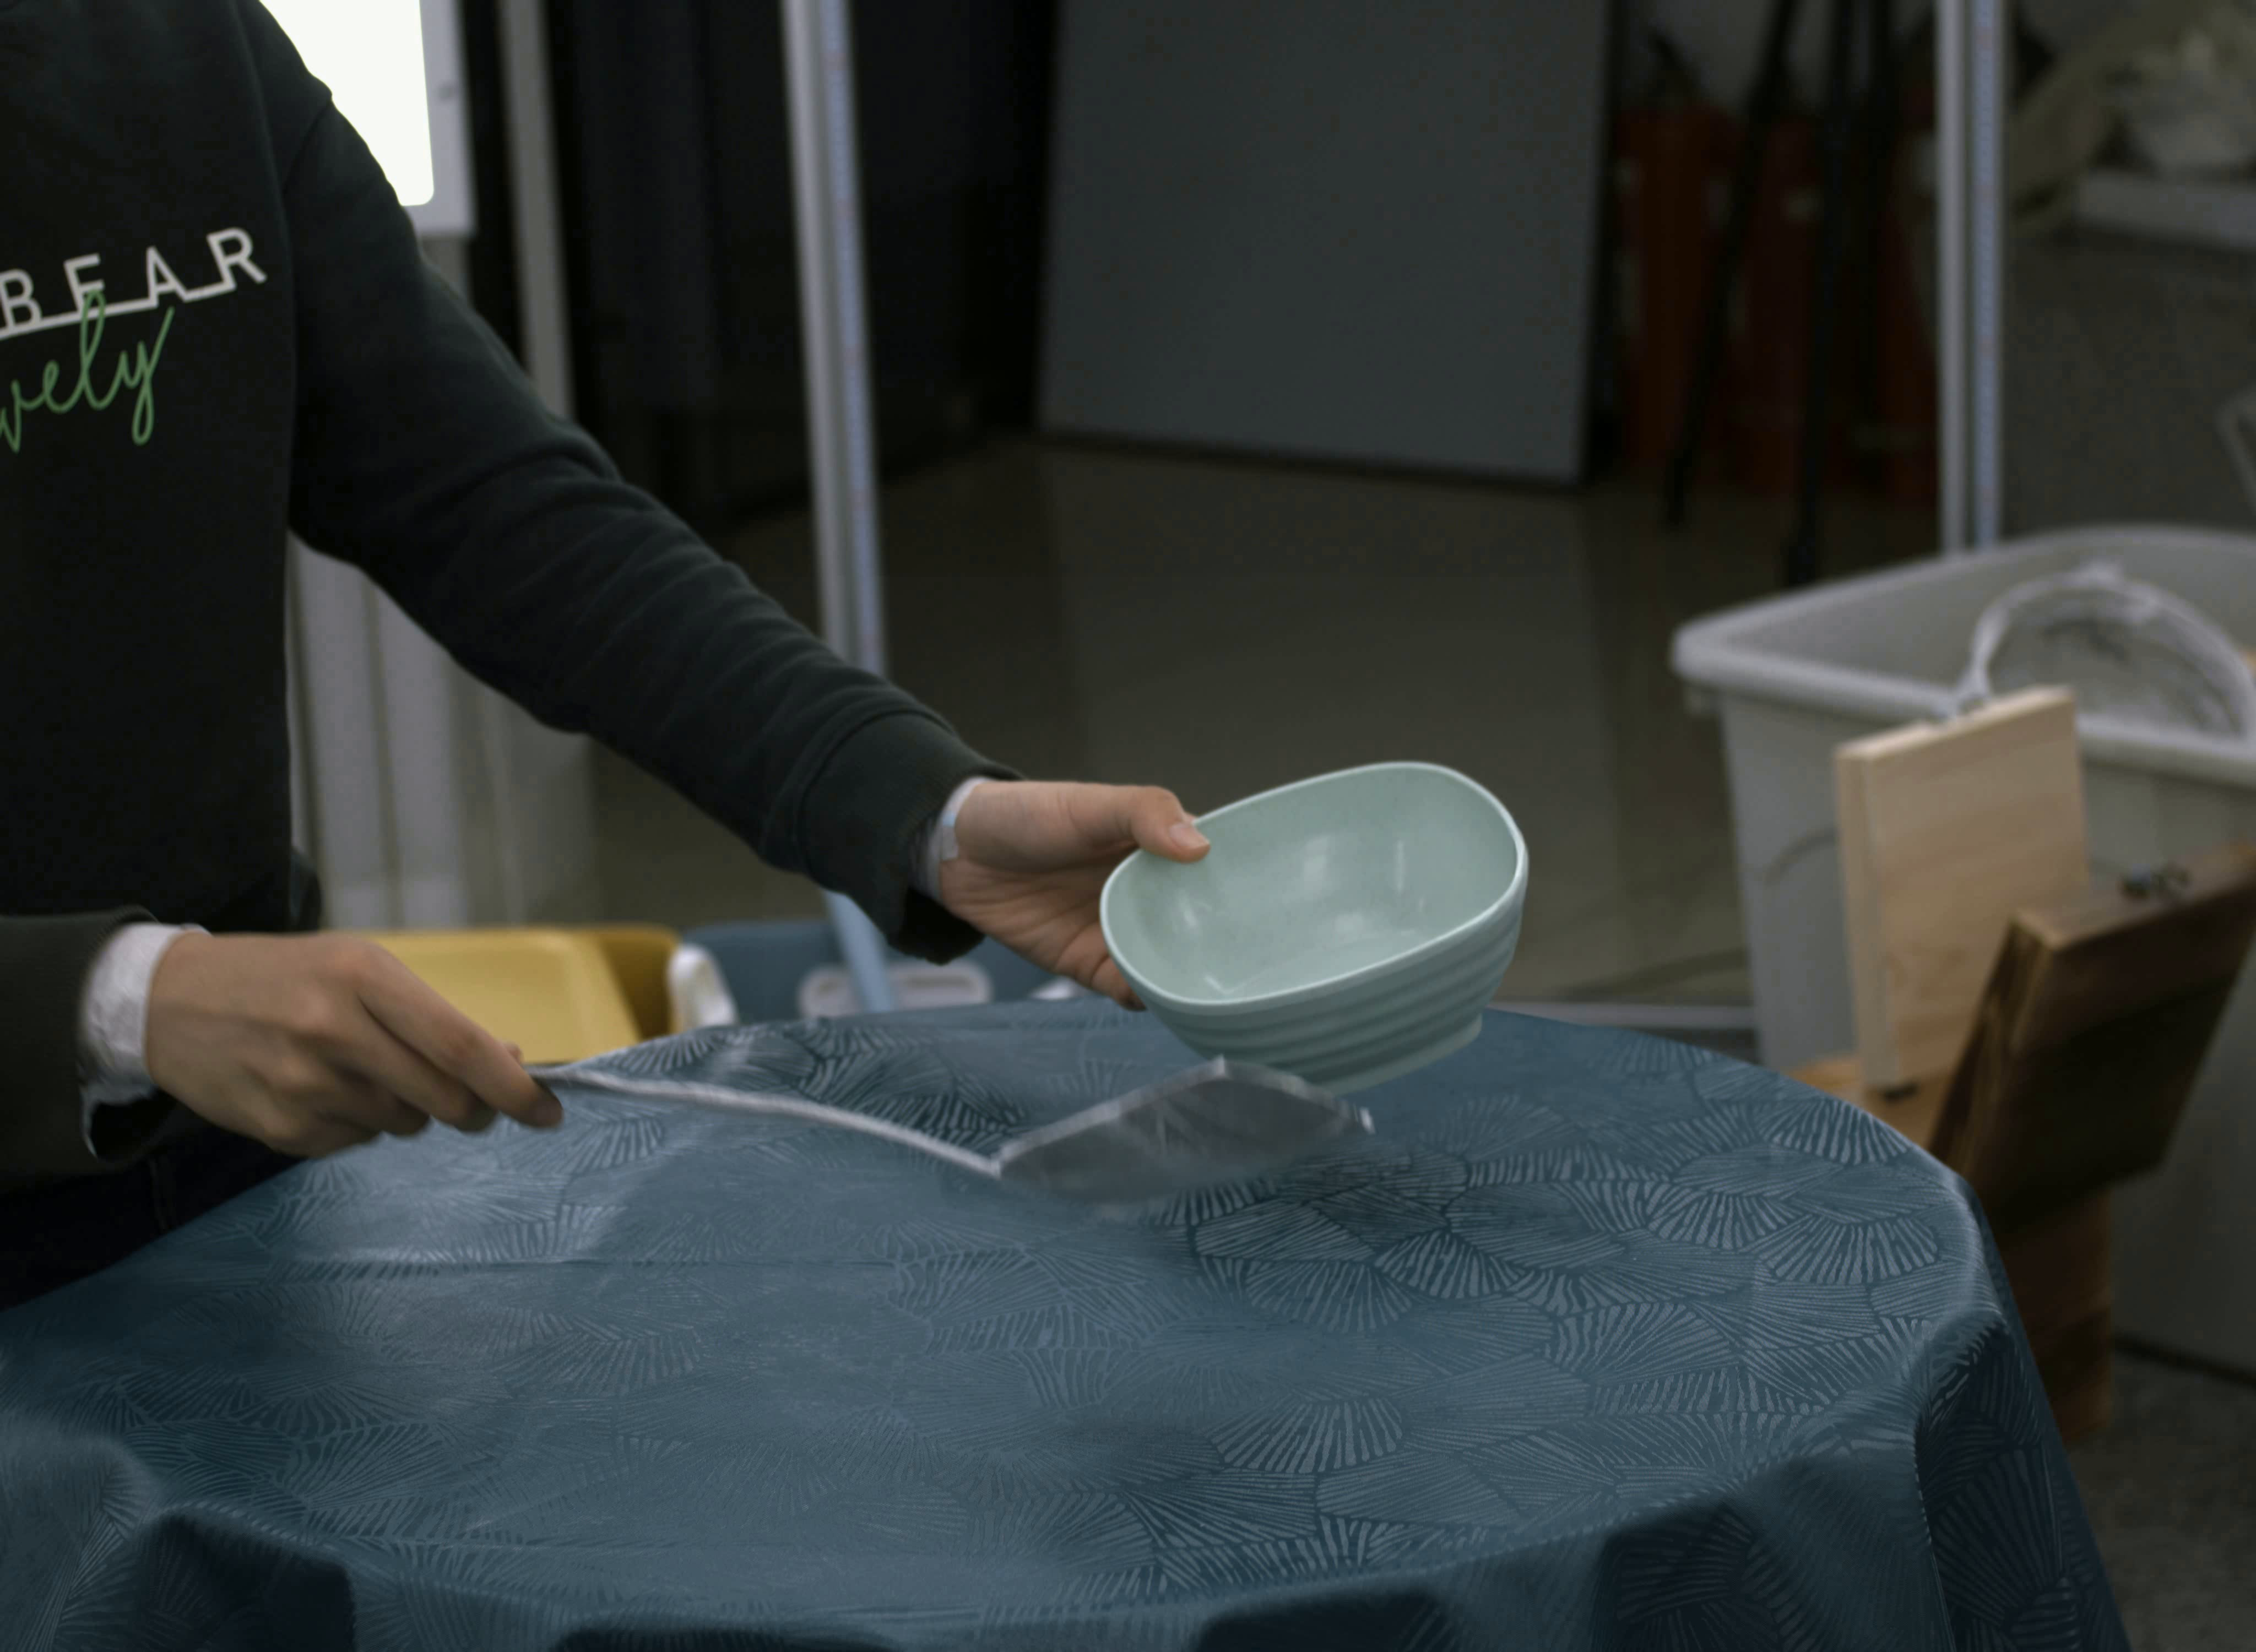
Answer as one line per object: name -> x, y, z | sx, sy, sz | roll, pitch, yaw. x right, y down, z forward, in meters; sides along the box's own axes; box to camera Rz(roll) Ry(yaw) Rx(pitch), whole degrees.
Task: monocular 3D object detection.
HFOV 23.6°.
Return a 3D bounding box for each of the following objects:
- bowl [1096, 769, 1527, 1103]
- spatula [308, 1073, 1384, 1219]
bowl -> 0.063, 0.043, 1.749 | 0.150, 0.059, 0.152 | -11, 27, 5
spatula -> -0.098, 0.083, 1.581 | 0.366, 0.045, 0.097 | 5, -9, 30
